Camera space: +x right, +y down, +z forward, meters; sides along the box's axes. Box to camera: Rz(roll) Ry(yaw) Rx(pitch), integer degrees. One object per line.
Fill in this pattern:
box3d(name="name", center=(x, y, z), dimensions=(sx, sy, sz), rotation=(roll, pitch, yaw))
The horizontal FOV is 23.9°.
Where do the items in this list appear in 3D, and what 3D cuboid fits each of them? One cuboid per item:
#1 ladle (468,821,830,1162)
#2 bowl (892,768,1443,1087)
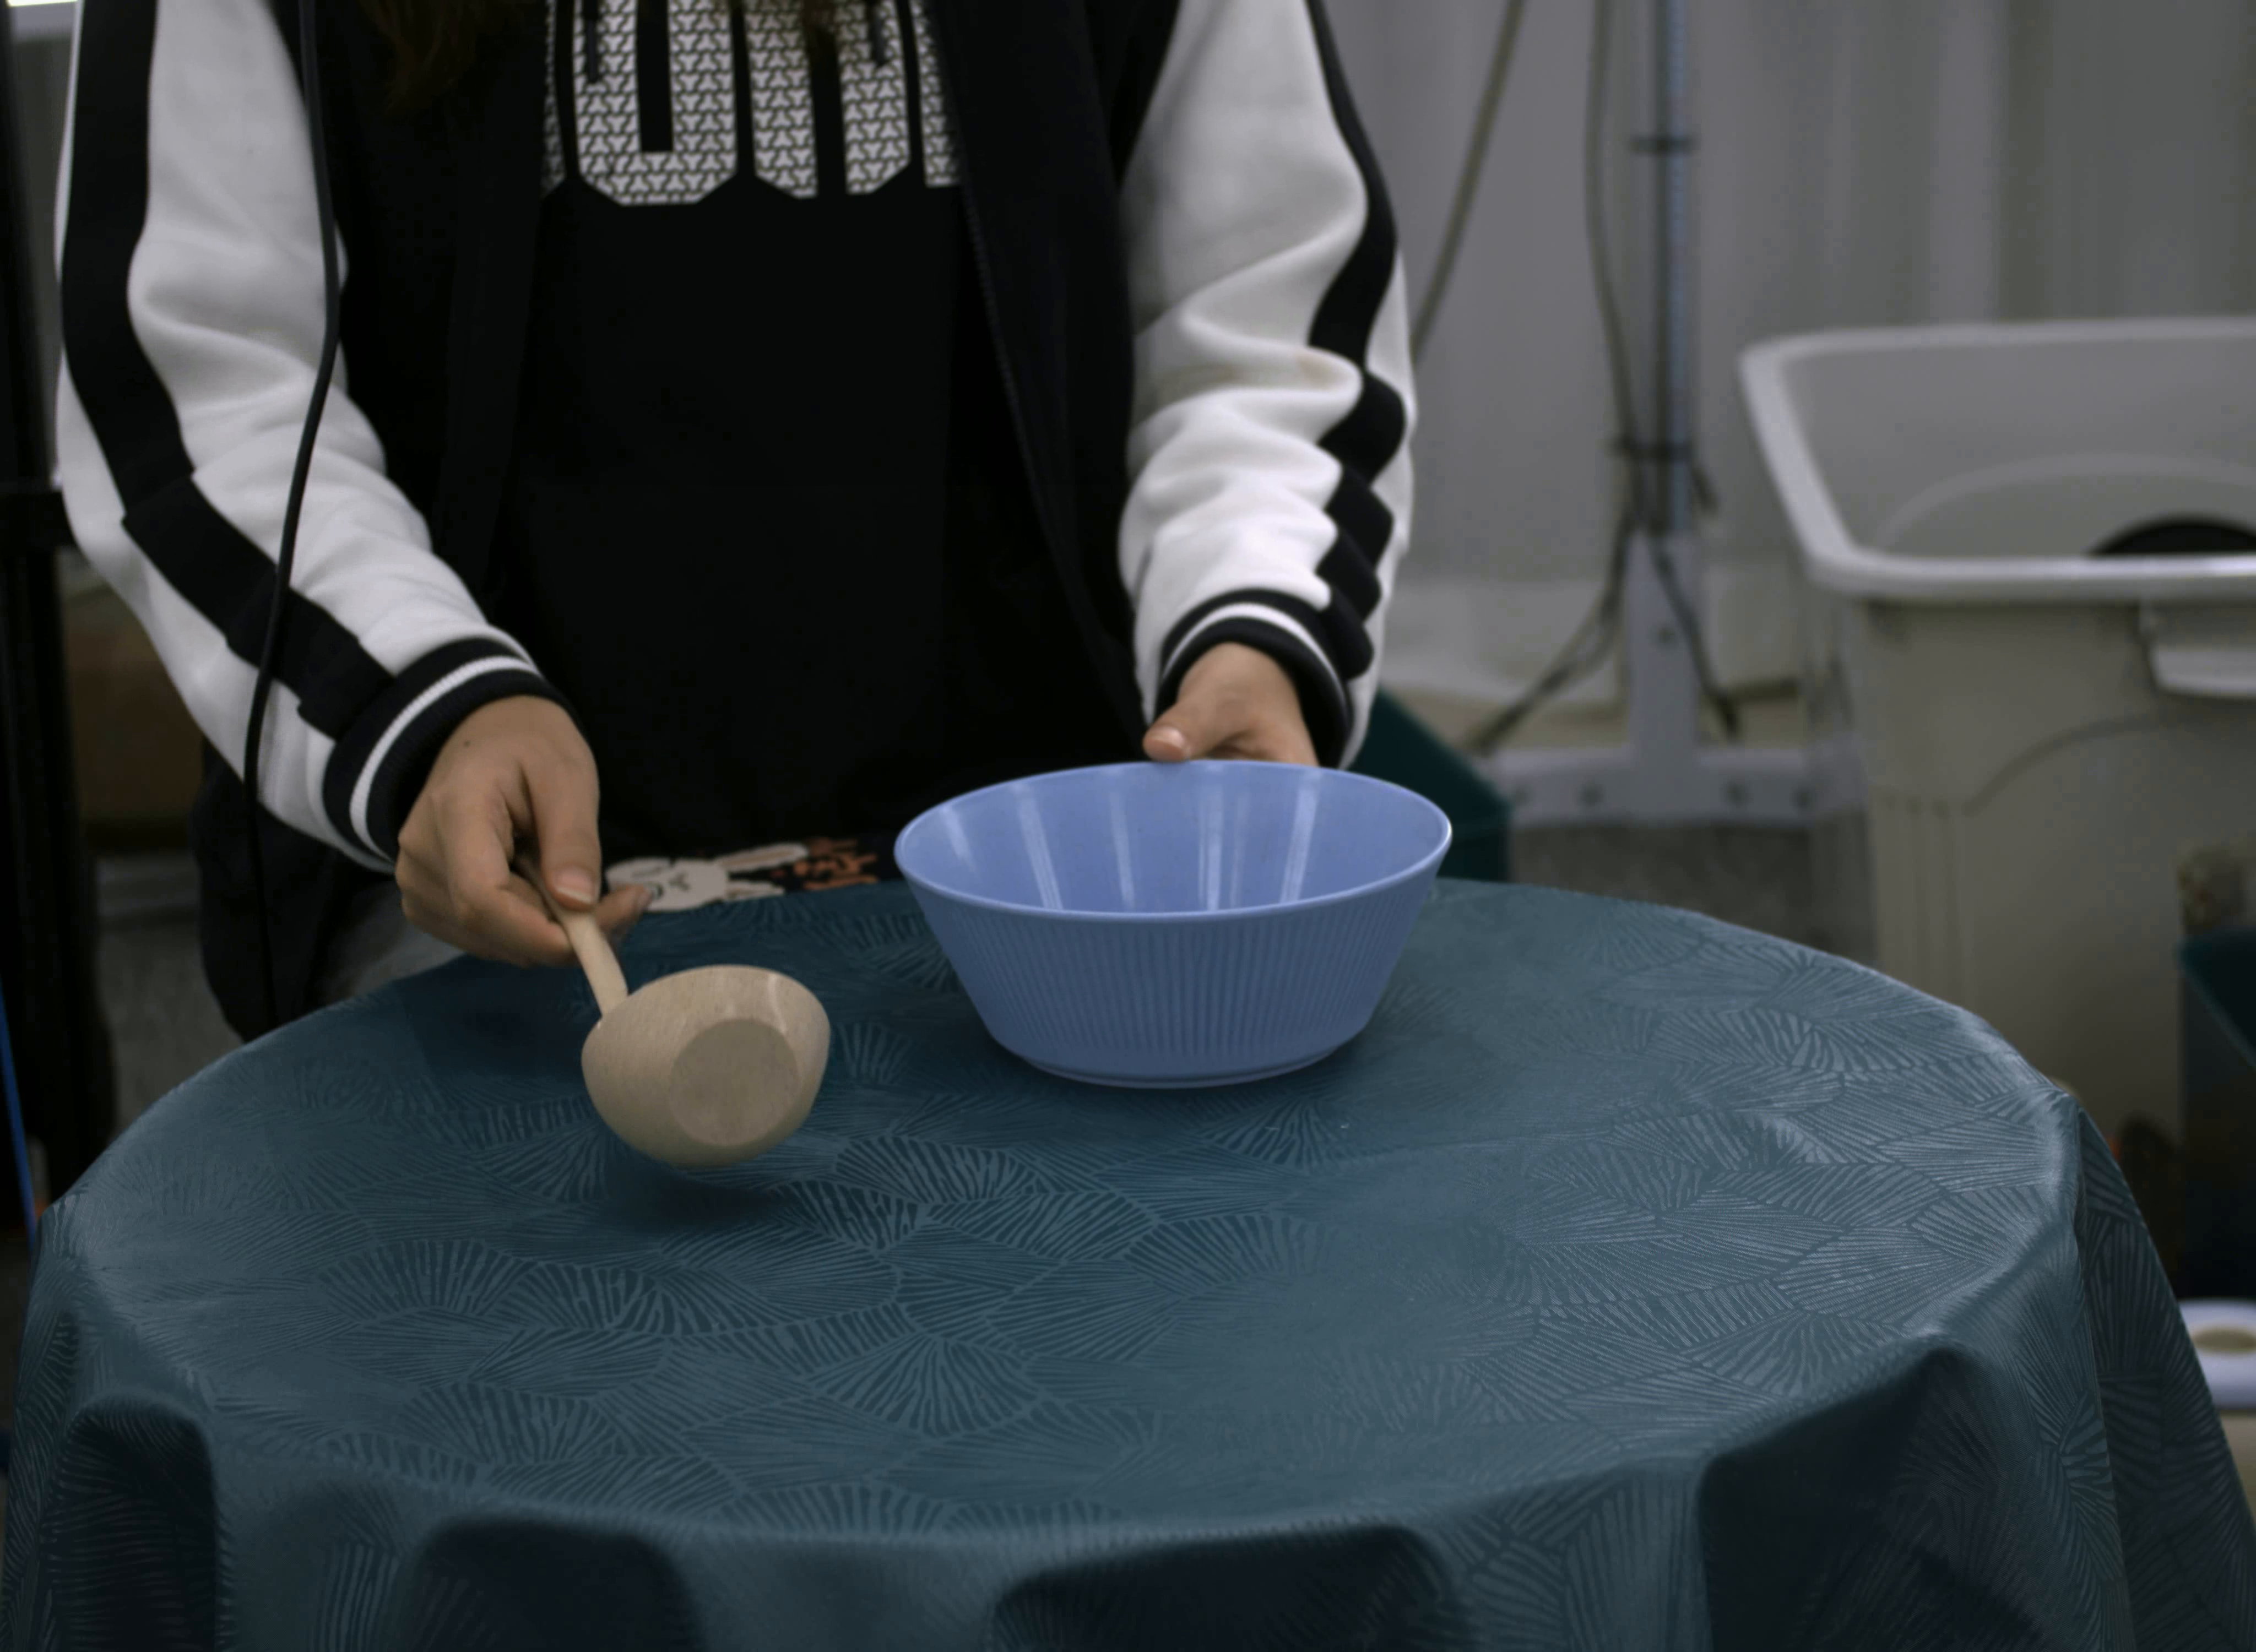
box3d(name="ladle", center=(-0.156, 0.022, 1.636), dimensions=(0.070, 0.073, 0.259), rotation=(7, 22, -25))
box3d(name="bowl", center=(0.013, 0.034, 1.688), dimensions=(0.175, 0.070, 0.177), rotation=(-2, 16, -1))
